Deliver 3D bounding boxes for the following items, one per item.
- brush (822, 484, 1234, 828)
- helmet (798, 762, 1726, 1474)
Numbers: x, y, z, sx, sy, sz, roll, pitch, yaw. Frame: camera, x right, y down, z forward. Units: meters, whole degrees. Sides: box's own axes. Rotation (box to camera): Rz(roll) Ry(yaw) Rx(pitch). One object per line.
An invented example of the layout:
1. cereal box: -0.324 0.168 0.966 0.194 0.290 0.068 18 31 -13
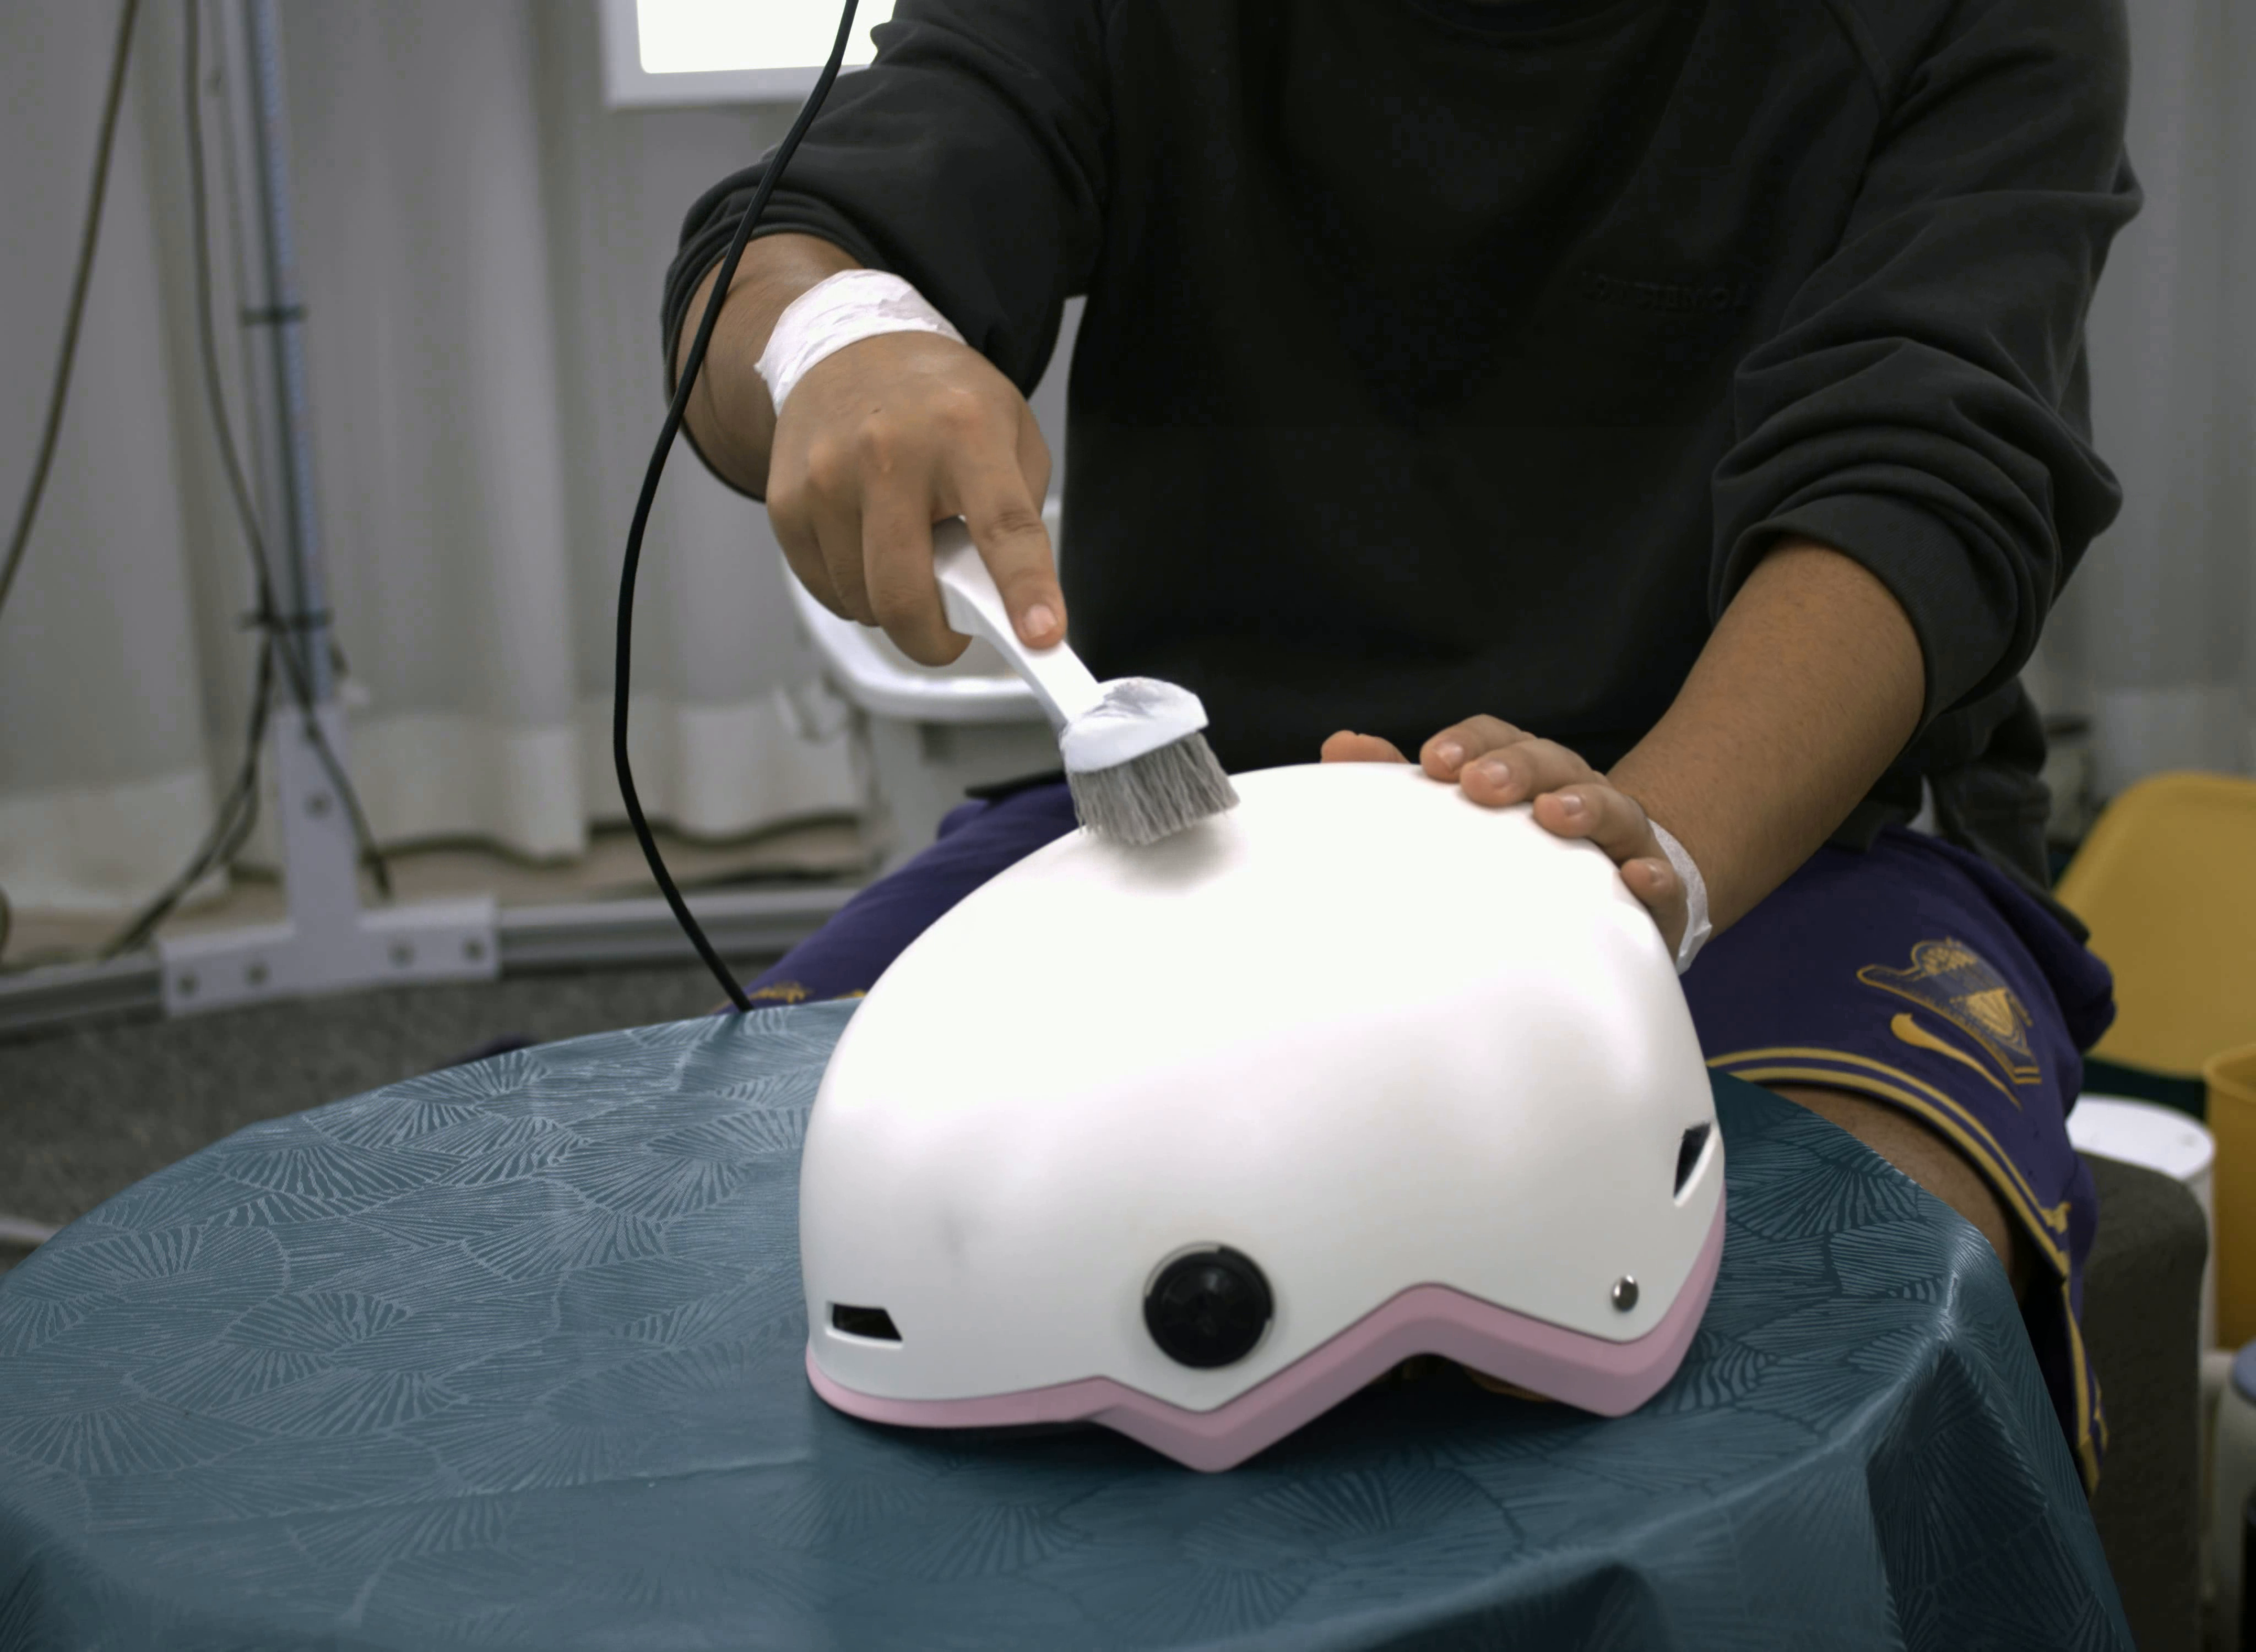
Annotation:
1. brush: -0.033 -0.049 1.601 0.034 0.050 0.246 -24 26 -16
2. helmet: 0.035 0.069 1.564 0.268 0.166 0.239 -4 15 -2
